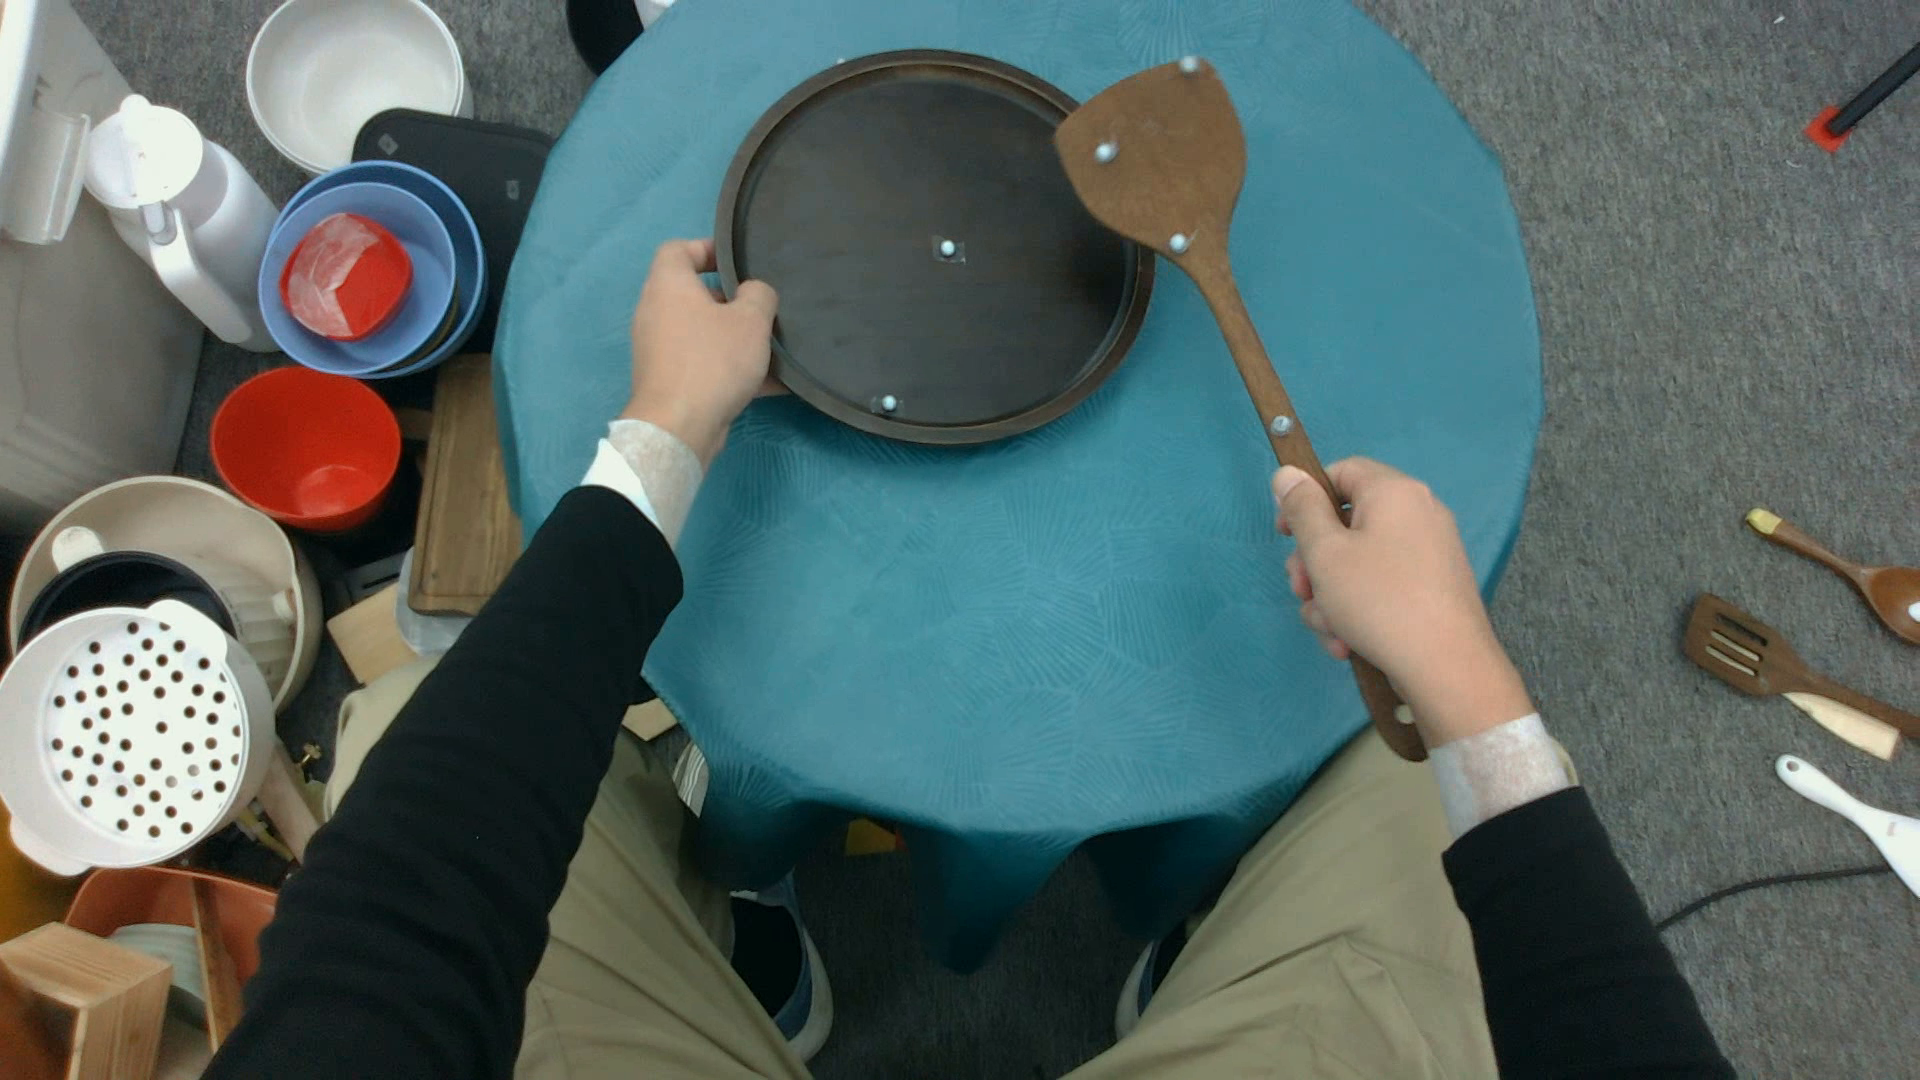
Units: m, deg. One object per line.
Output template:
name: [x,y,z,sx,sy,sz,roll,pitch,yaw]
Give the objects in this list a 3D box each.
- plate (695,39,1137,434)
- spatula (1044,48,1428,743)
plate: [-0.024,-0.177,0.790,0.255,0.029,0.255,3,71,-7]
spatula: [0.146,-0.082,0.691,0.096,0.016,0.386,-21,73,4]
